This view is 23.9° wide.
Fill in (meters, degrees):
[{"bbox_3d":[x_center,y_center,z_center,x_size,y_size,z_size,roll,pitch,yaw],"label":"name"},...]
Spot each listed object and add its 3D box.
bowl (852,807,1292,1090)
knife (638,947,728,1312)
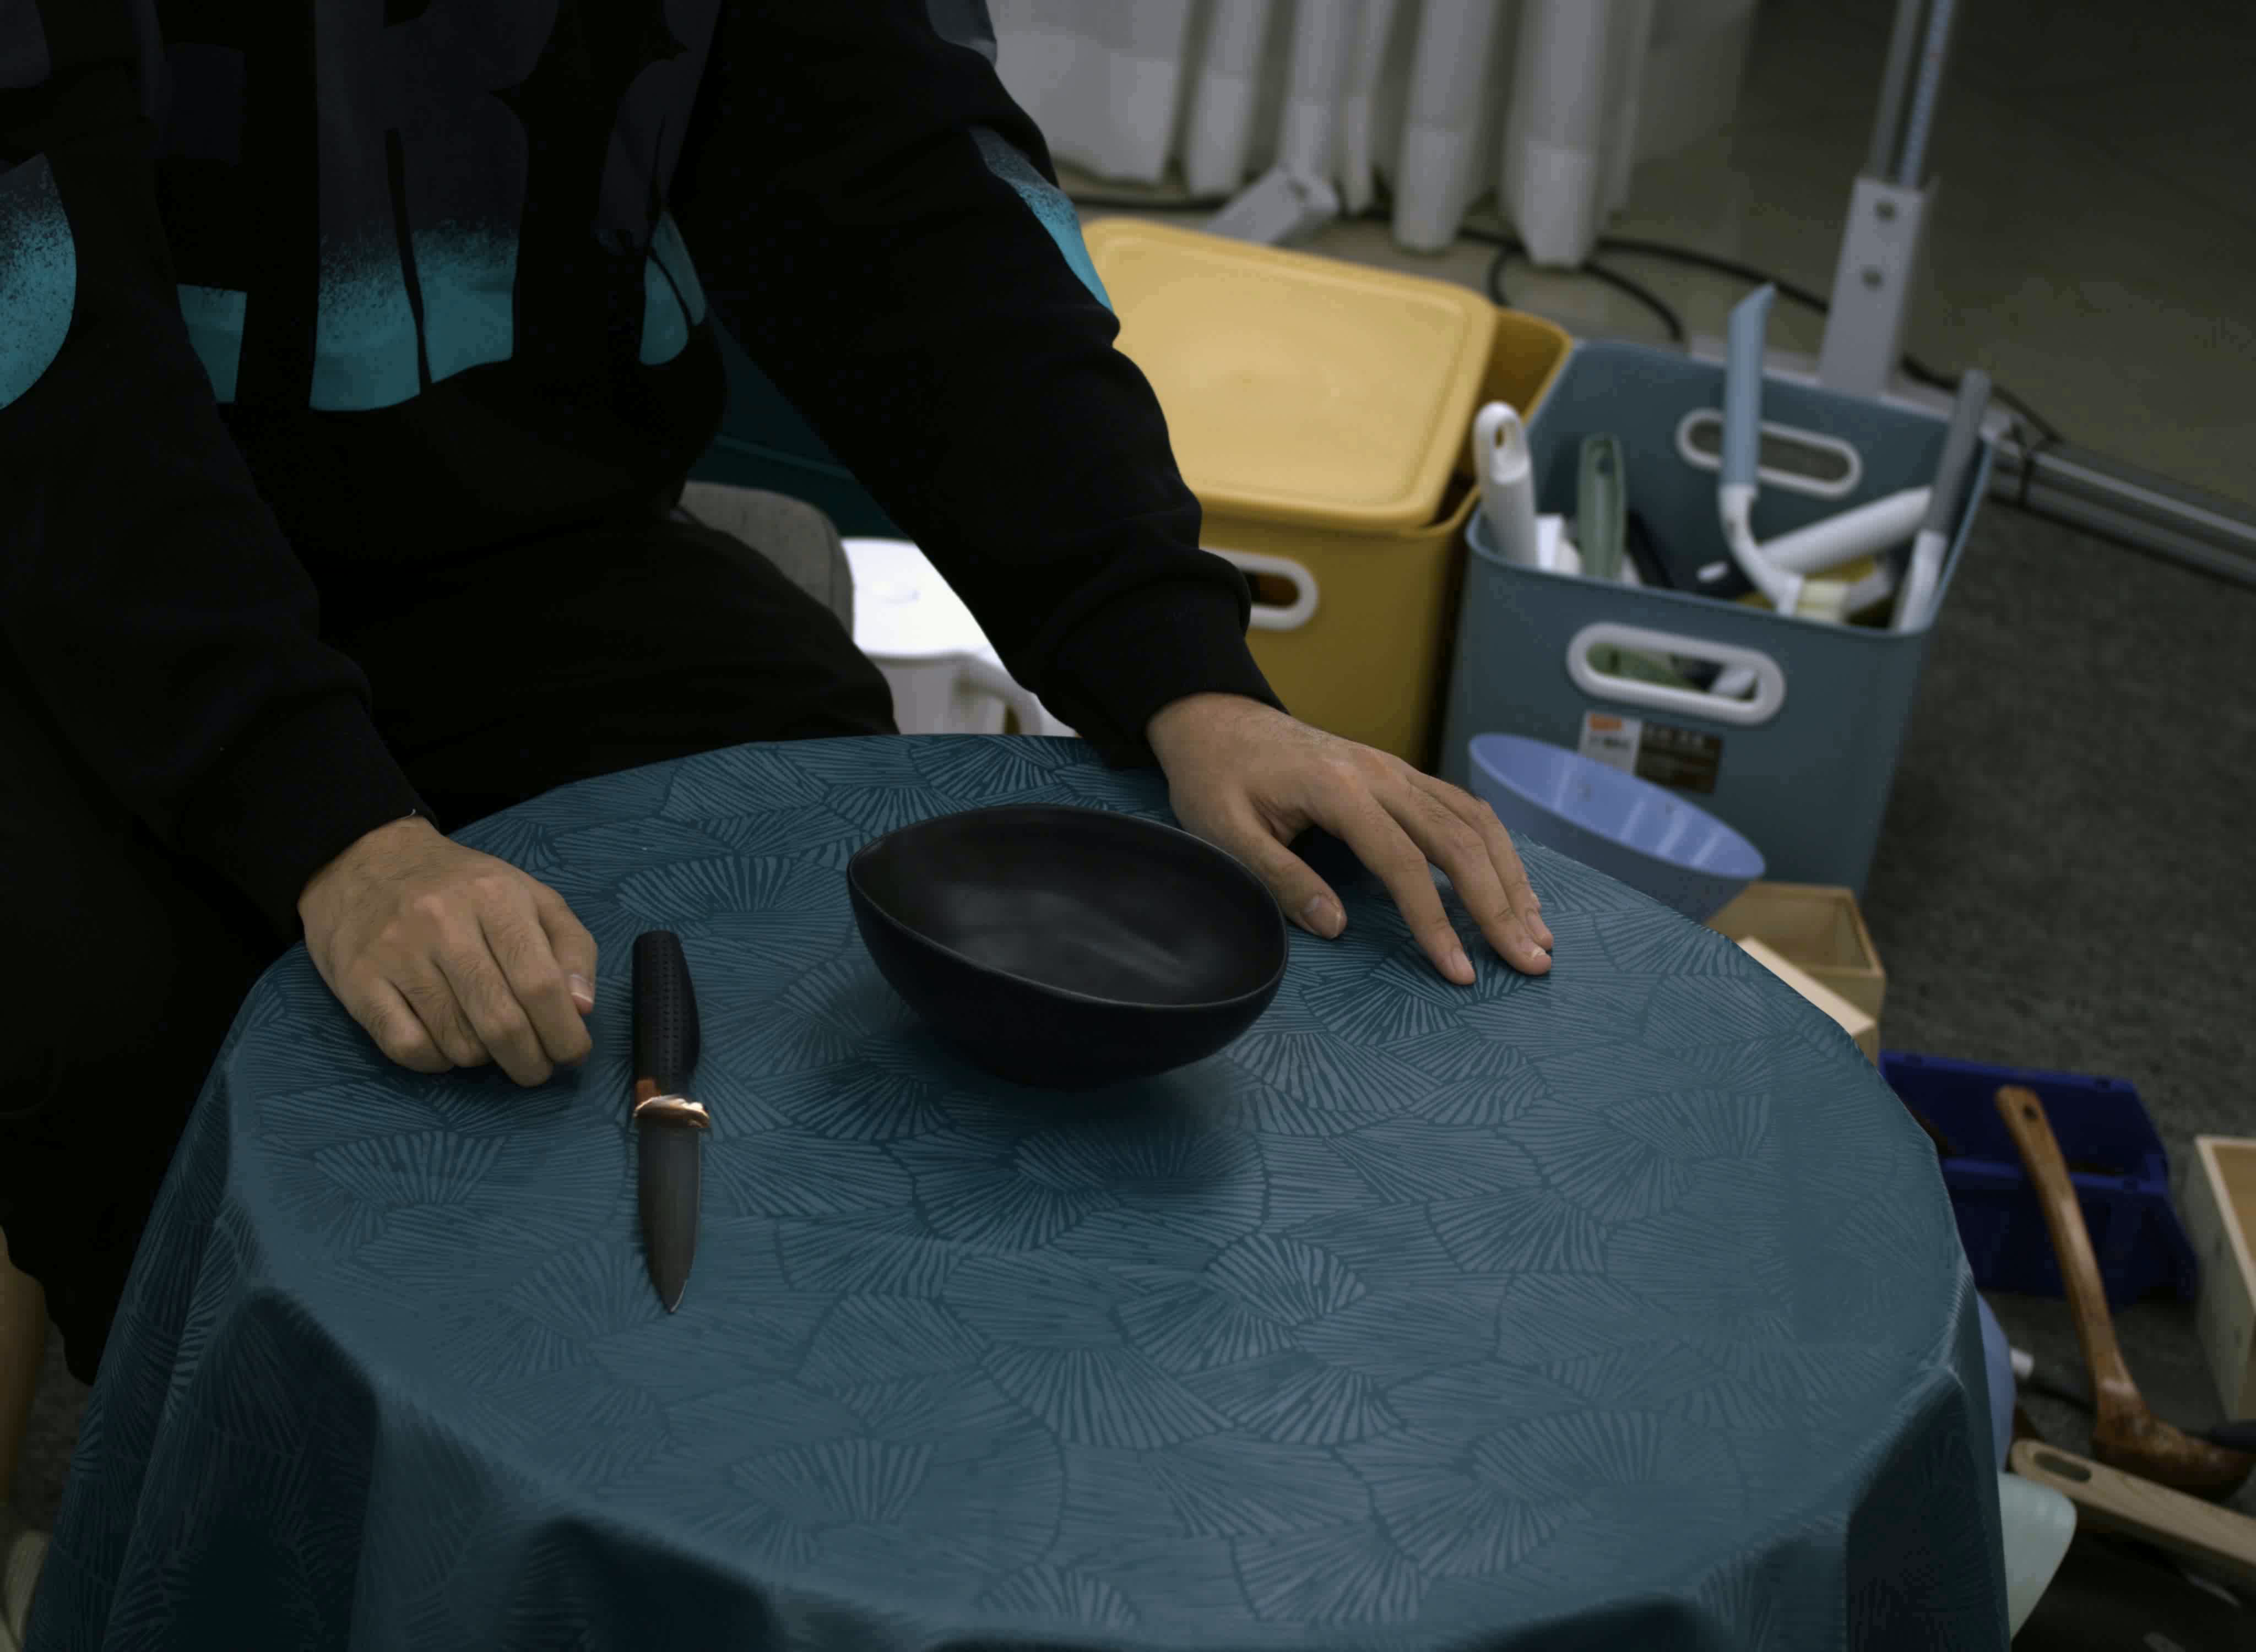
[{"bbox_3d":[-0.024,0.050,1.870,0.171,0.066,0.137,22,30,32],"label":"bowl"},{"bbox_3d":[-0.151,0.101,1.801,0.026,0.017,0.227,-1,29,-7],"label":"knife"}]
